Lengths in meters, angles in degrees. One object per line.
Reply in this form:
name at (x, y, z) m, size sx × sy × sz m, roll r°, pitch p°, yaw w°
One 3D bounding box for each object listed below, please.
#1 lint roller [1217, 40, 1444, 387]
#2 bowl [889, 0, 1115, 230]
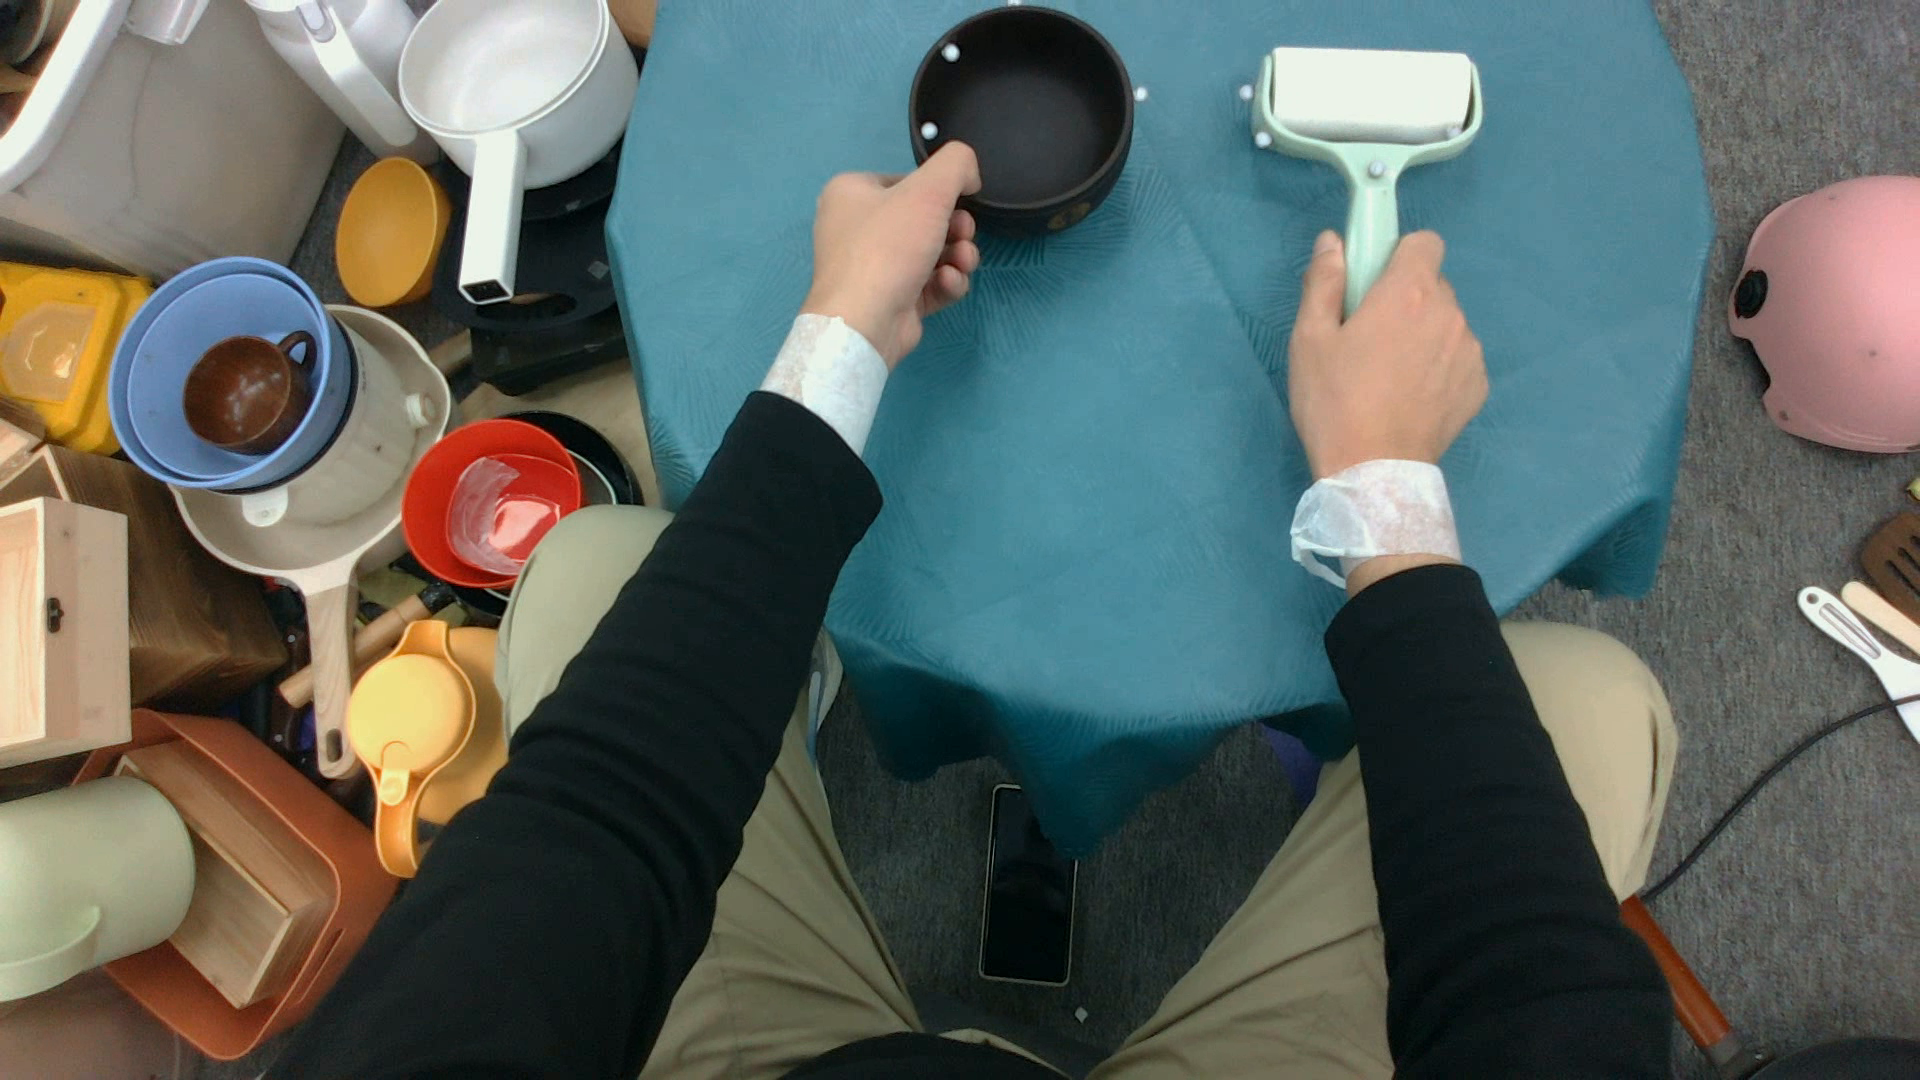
lint roller at (0.195, -0.177, 0.724) m, size 0.116 × 0.048 × 0.198 m, roll 3°, pitch 70°, yaw 2°
bowl at (0.022, -0.220, 0.736) m, size 0.118 × 0.070 × 0.118 m, roll 0°, pitch 79°, yaw 1°
